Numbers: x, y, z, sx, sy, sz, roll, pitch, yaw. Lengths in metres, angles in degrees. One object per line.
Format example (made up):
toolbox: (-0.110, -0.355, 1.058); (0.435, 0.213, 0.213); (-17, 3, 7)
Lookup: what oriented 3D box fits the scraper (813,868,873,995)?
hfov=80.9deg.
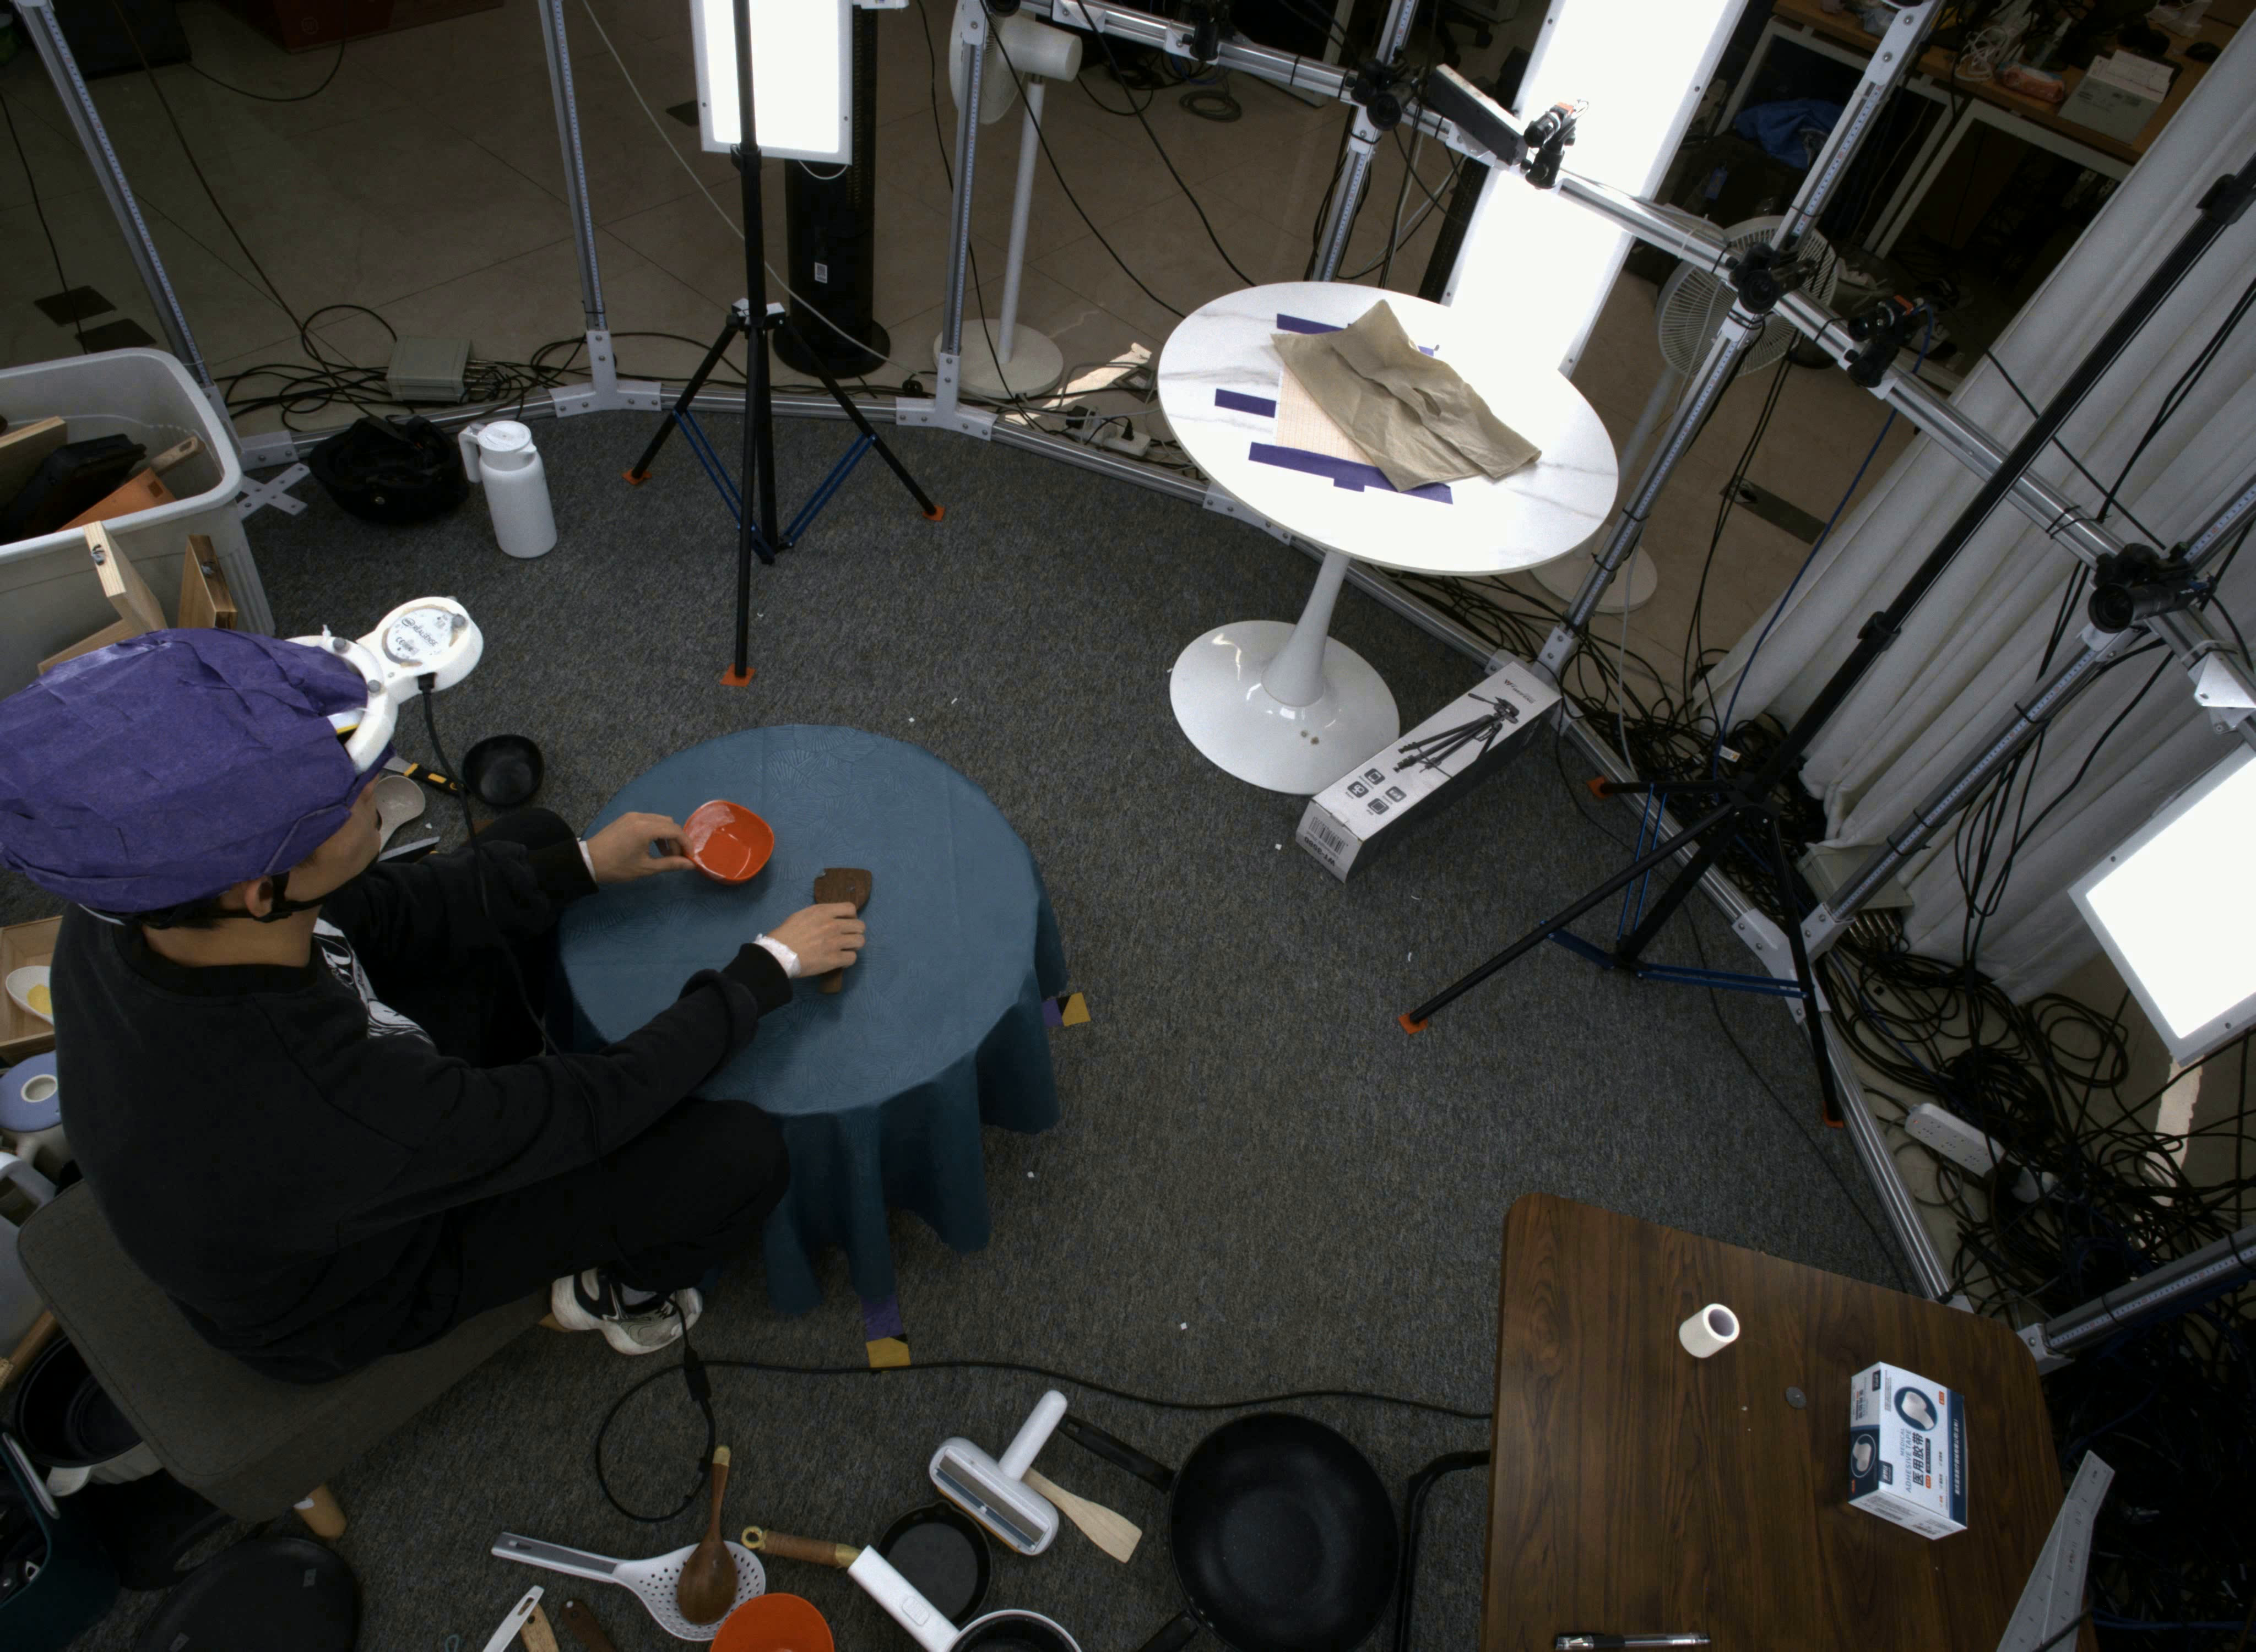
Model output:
scraper: (-0.364, 0.128, 1.627); (0.075, 0.011, 0.206); (3, 44, -8)

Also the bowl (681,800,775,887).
bowl: (-0.513, 0.029, 1.643); (0.121, 0.051, 0.117); (18, 52, -22)
